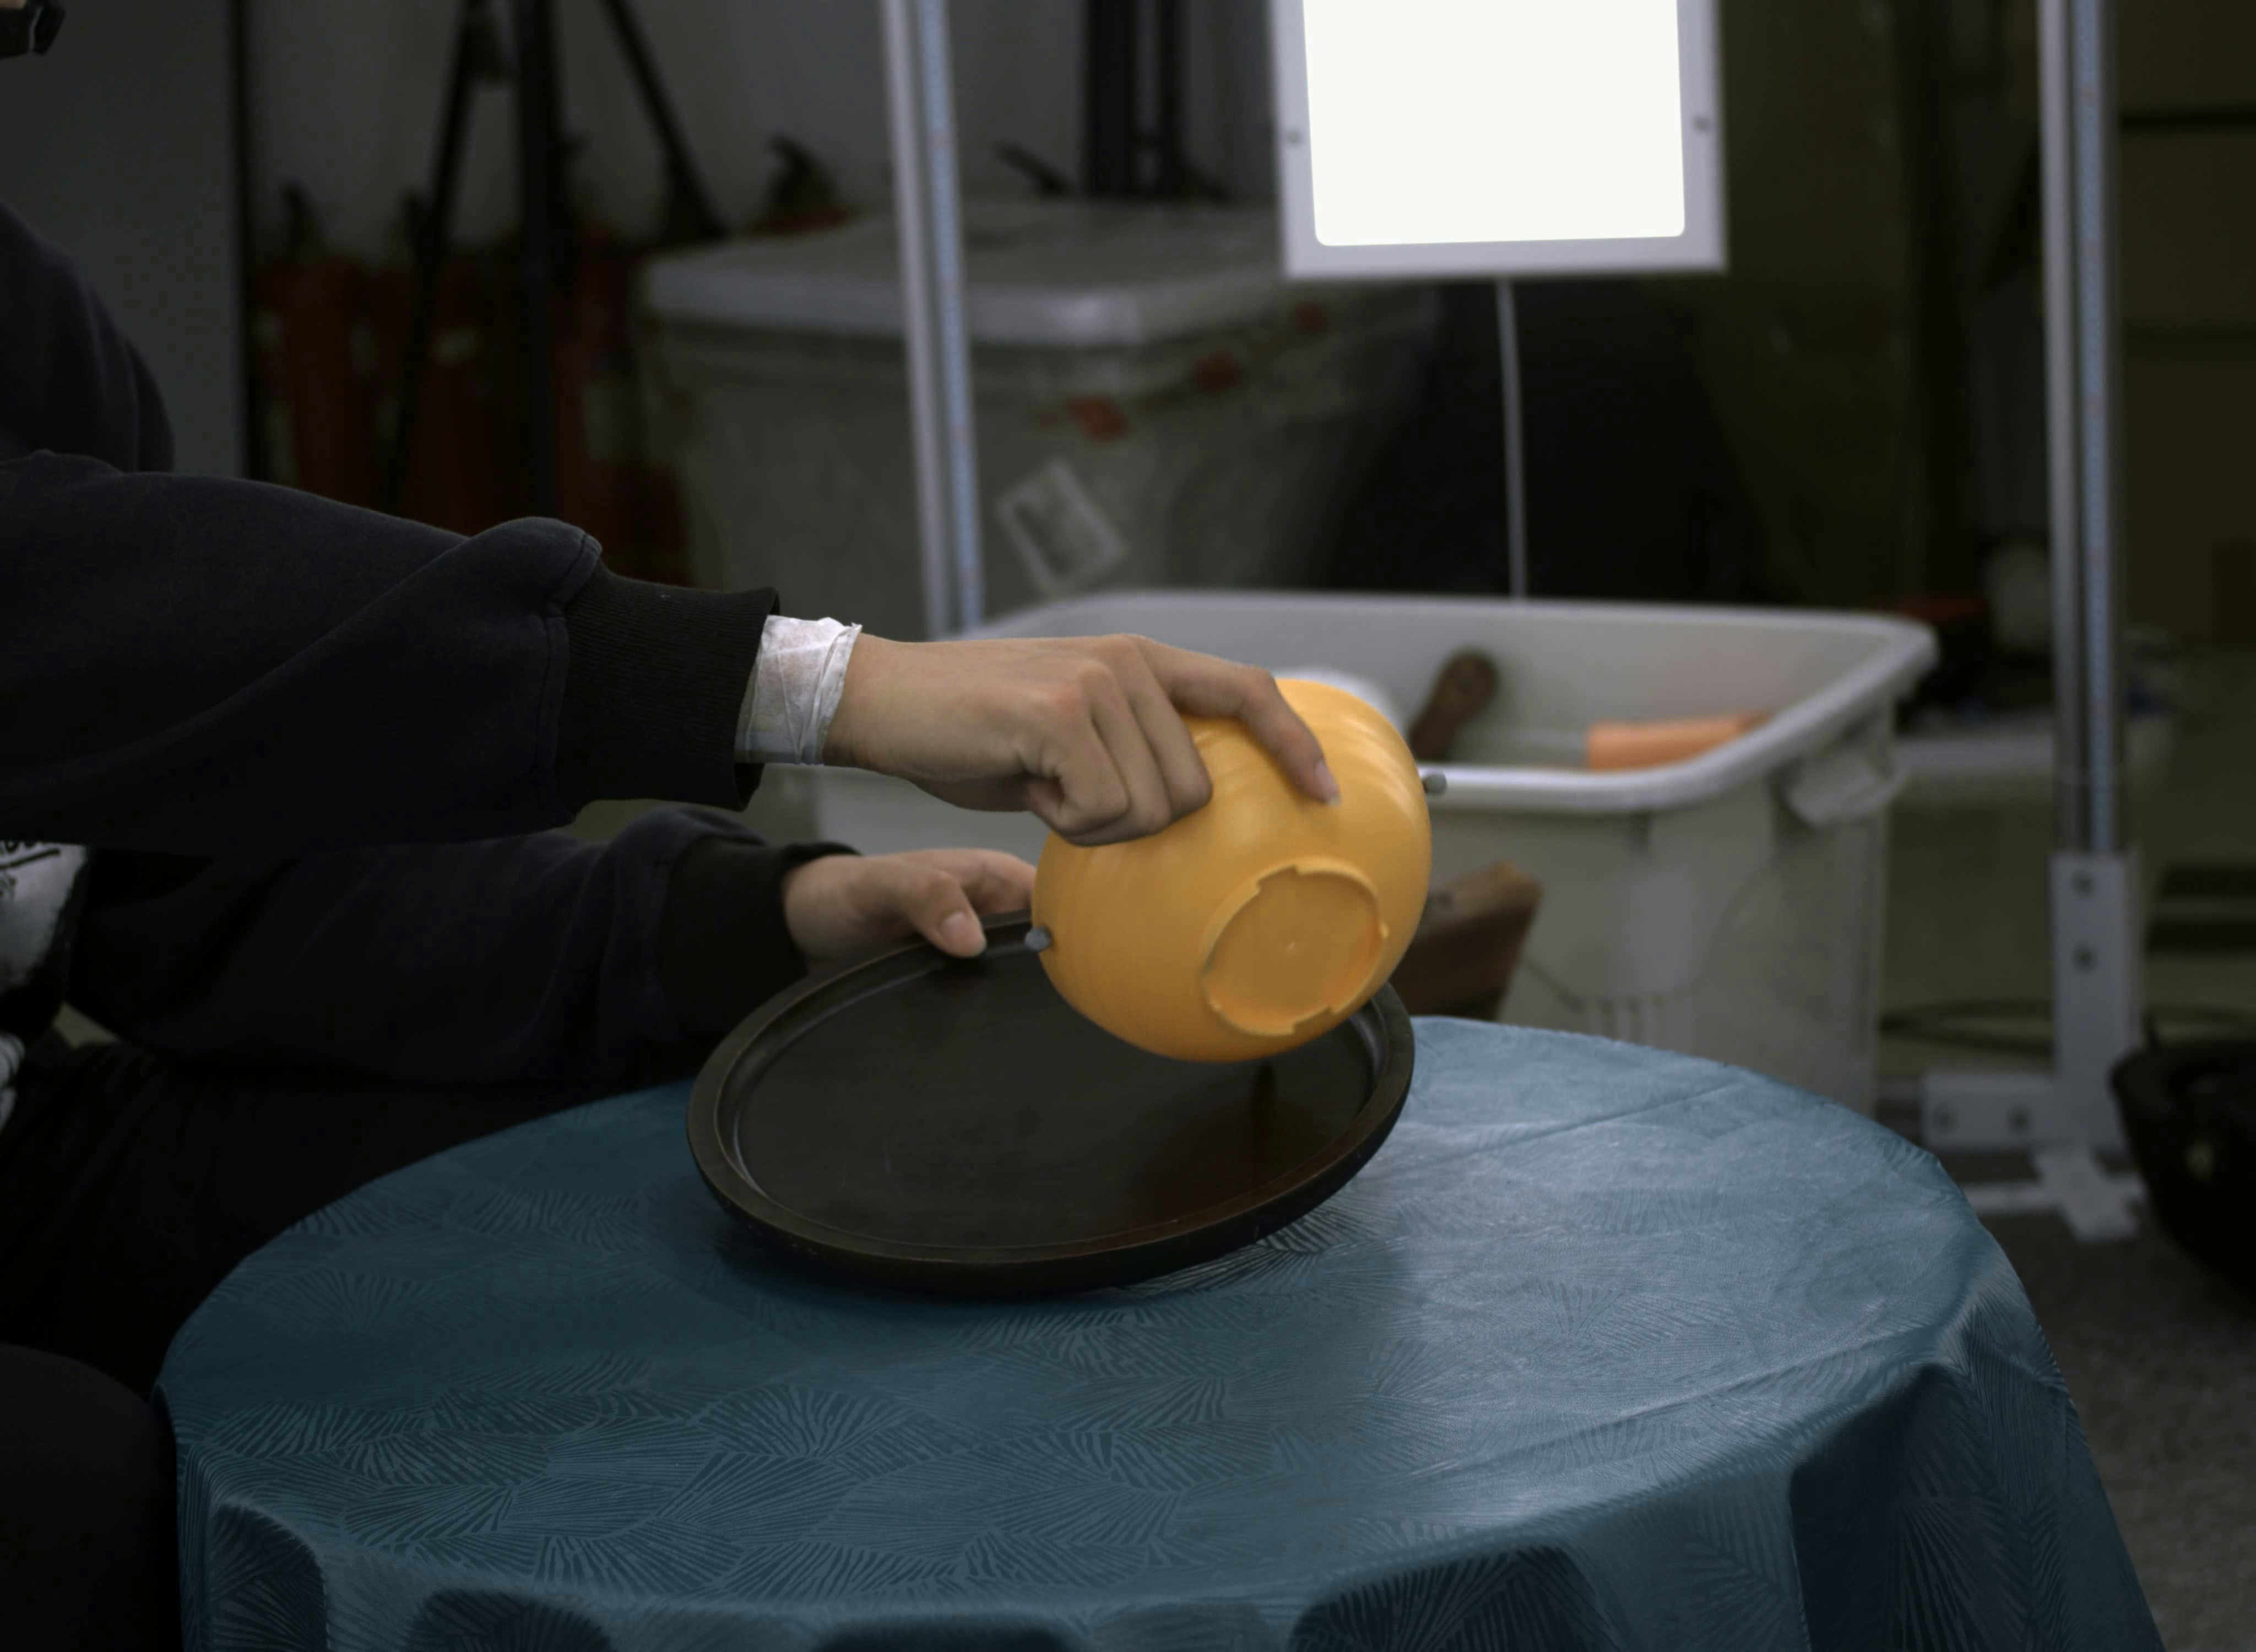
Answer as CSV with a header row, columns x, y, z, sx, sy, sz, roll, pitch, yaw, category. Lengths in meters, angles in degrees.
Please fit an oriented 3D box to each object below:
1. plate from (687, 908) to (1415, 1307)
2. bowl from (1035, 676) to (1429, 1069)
x,y,z,sx,sy,sz,roll,pitch,yaw,category
-0.026,0.093,1.895,0.255,0.029,0.254,-8,27,3,plate
0.046,0.027,1.830,0.142,0.146,0.061,-10,32,-22,bowl
